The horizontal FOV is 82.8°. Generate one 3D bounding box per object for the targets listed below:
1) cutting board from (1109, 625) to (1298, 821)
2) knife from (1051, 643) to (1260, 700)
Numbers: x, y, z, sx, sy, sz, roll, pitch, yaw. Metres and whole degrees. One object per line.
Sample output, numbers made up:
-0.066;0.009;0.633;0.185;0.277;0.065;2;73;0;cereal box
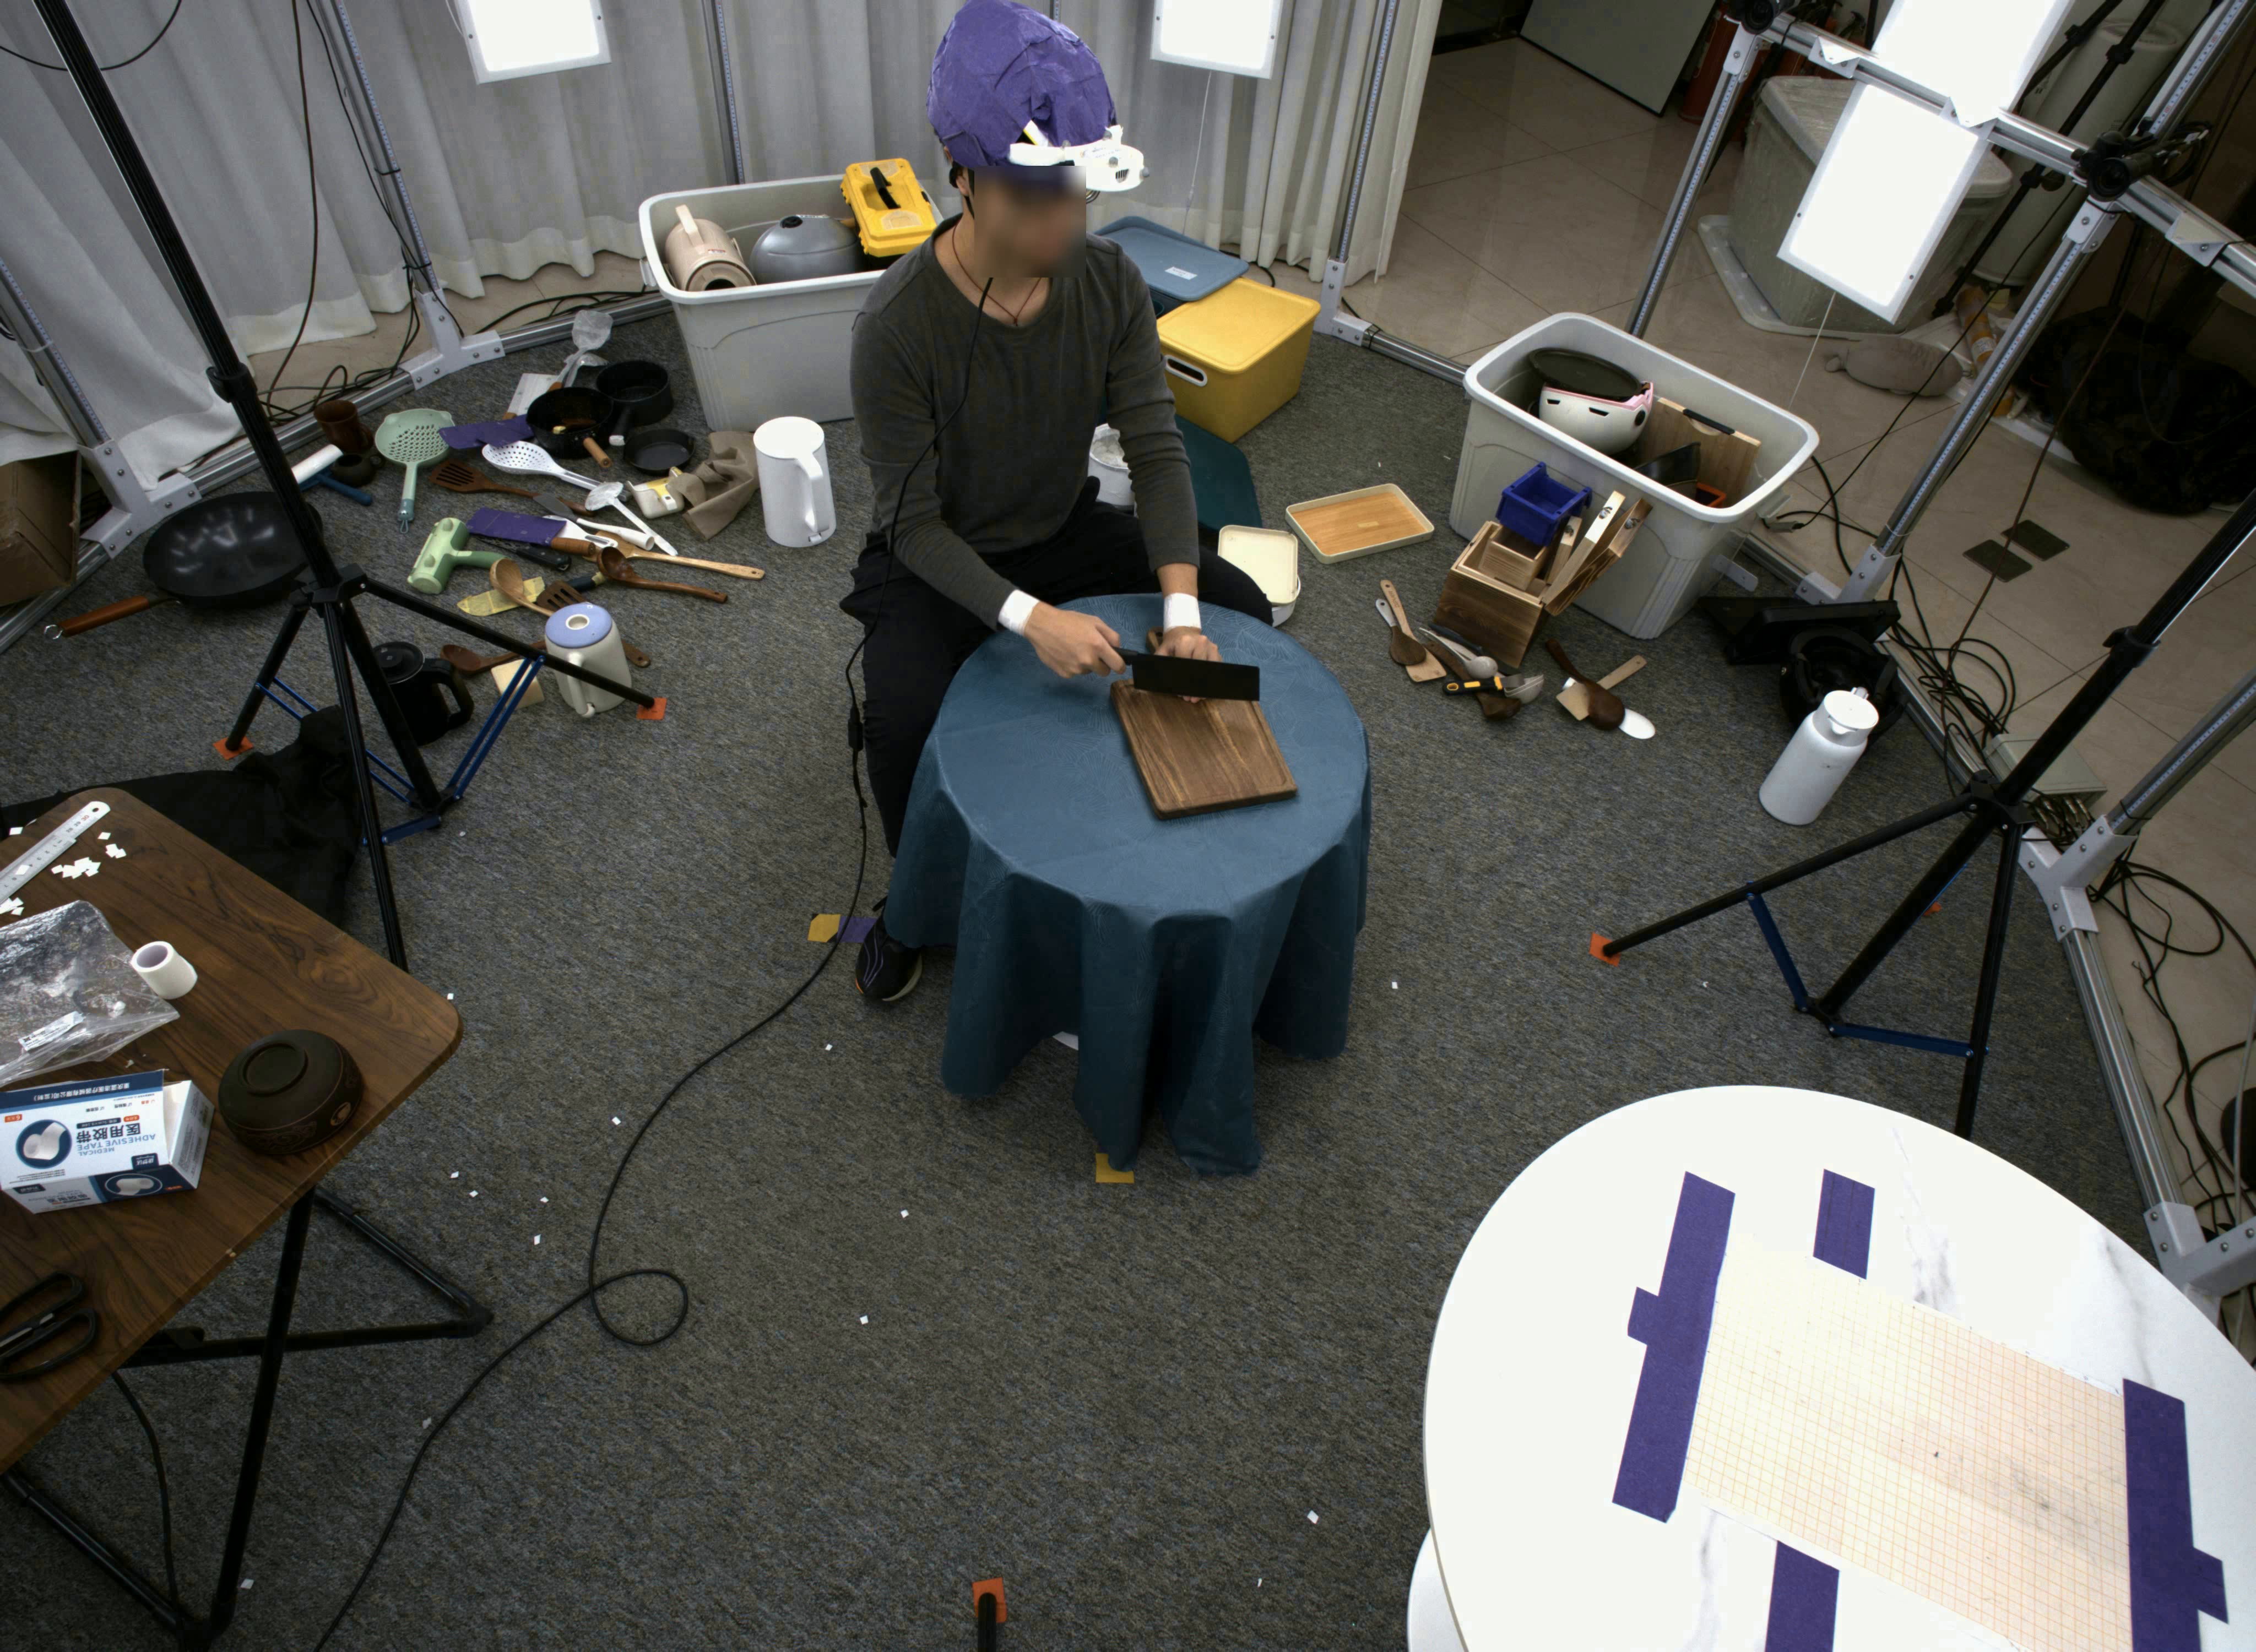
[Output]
0.088;-0.159;1.797;0.201;0.022;0.361;-9;50;-12;cutting board
0.036;-0.216;1.781;0.303;0.079;0.021;11;48;14;knife
